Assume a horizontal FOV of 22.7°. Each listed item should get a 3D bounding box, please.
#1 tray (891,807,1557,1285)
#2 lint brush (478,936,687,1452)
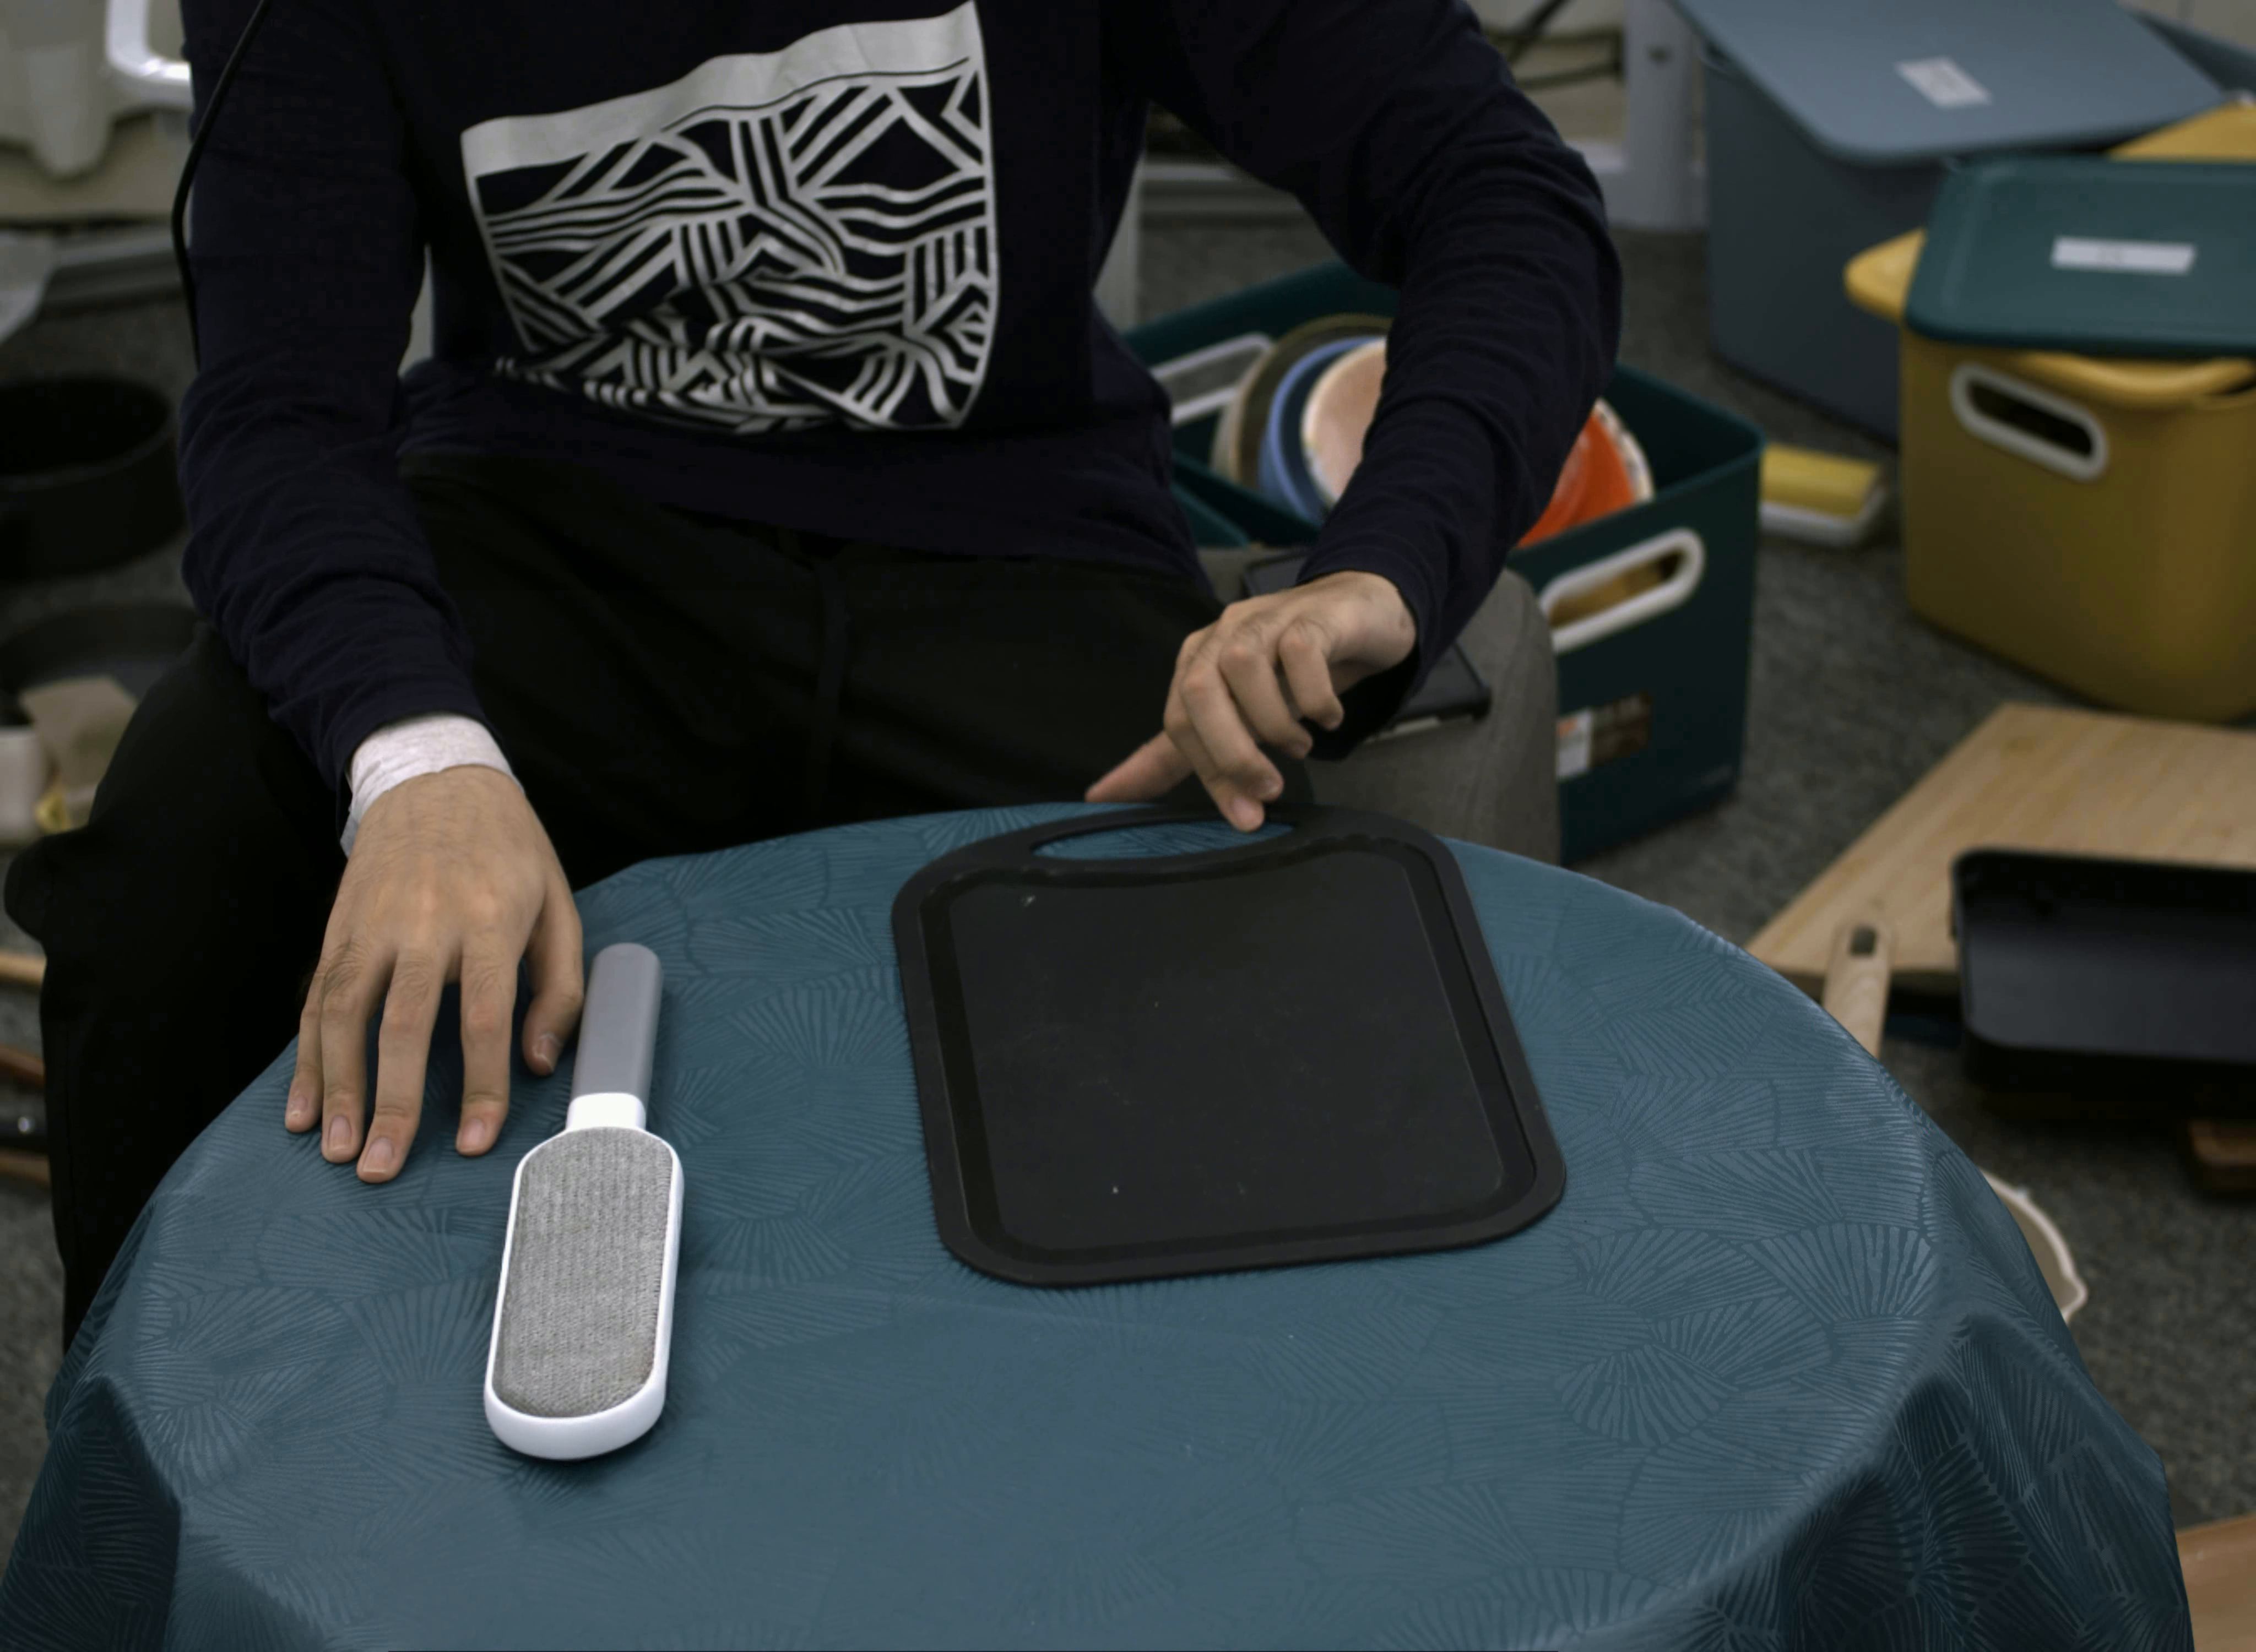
[{"bbox_3d":[0.026,0.068,1.957,0.210,0.009,0.330,-5,27,-4],"label":"tray"},{"bbox_3d":[-0.175,0.116,1.858,0.060,0.021,0.313,-7,27,3],"label":"lint brush"}]
